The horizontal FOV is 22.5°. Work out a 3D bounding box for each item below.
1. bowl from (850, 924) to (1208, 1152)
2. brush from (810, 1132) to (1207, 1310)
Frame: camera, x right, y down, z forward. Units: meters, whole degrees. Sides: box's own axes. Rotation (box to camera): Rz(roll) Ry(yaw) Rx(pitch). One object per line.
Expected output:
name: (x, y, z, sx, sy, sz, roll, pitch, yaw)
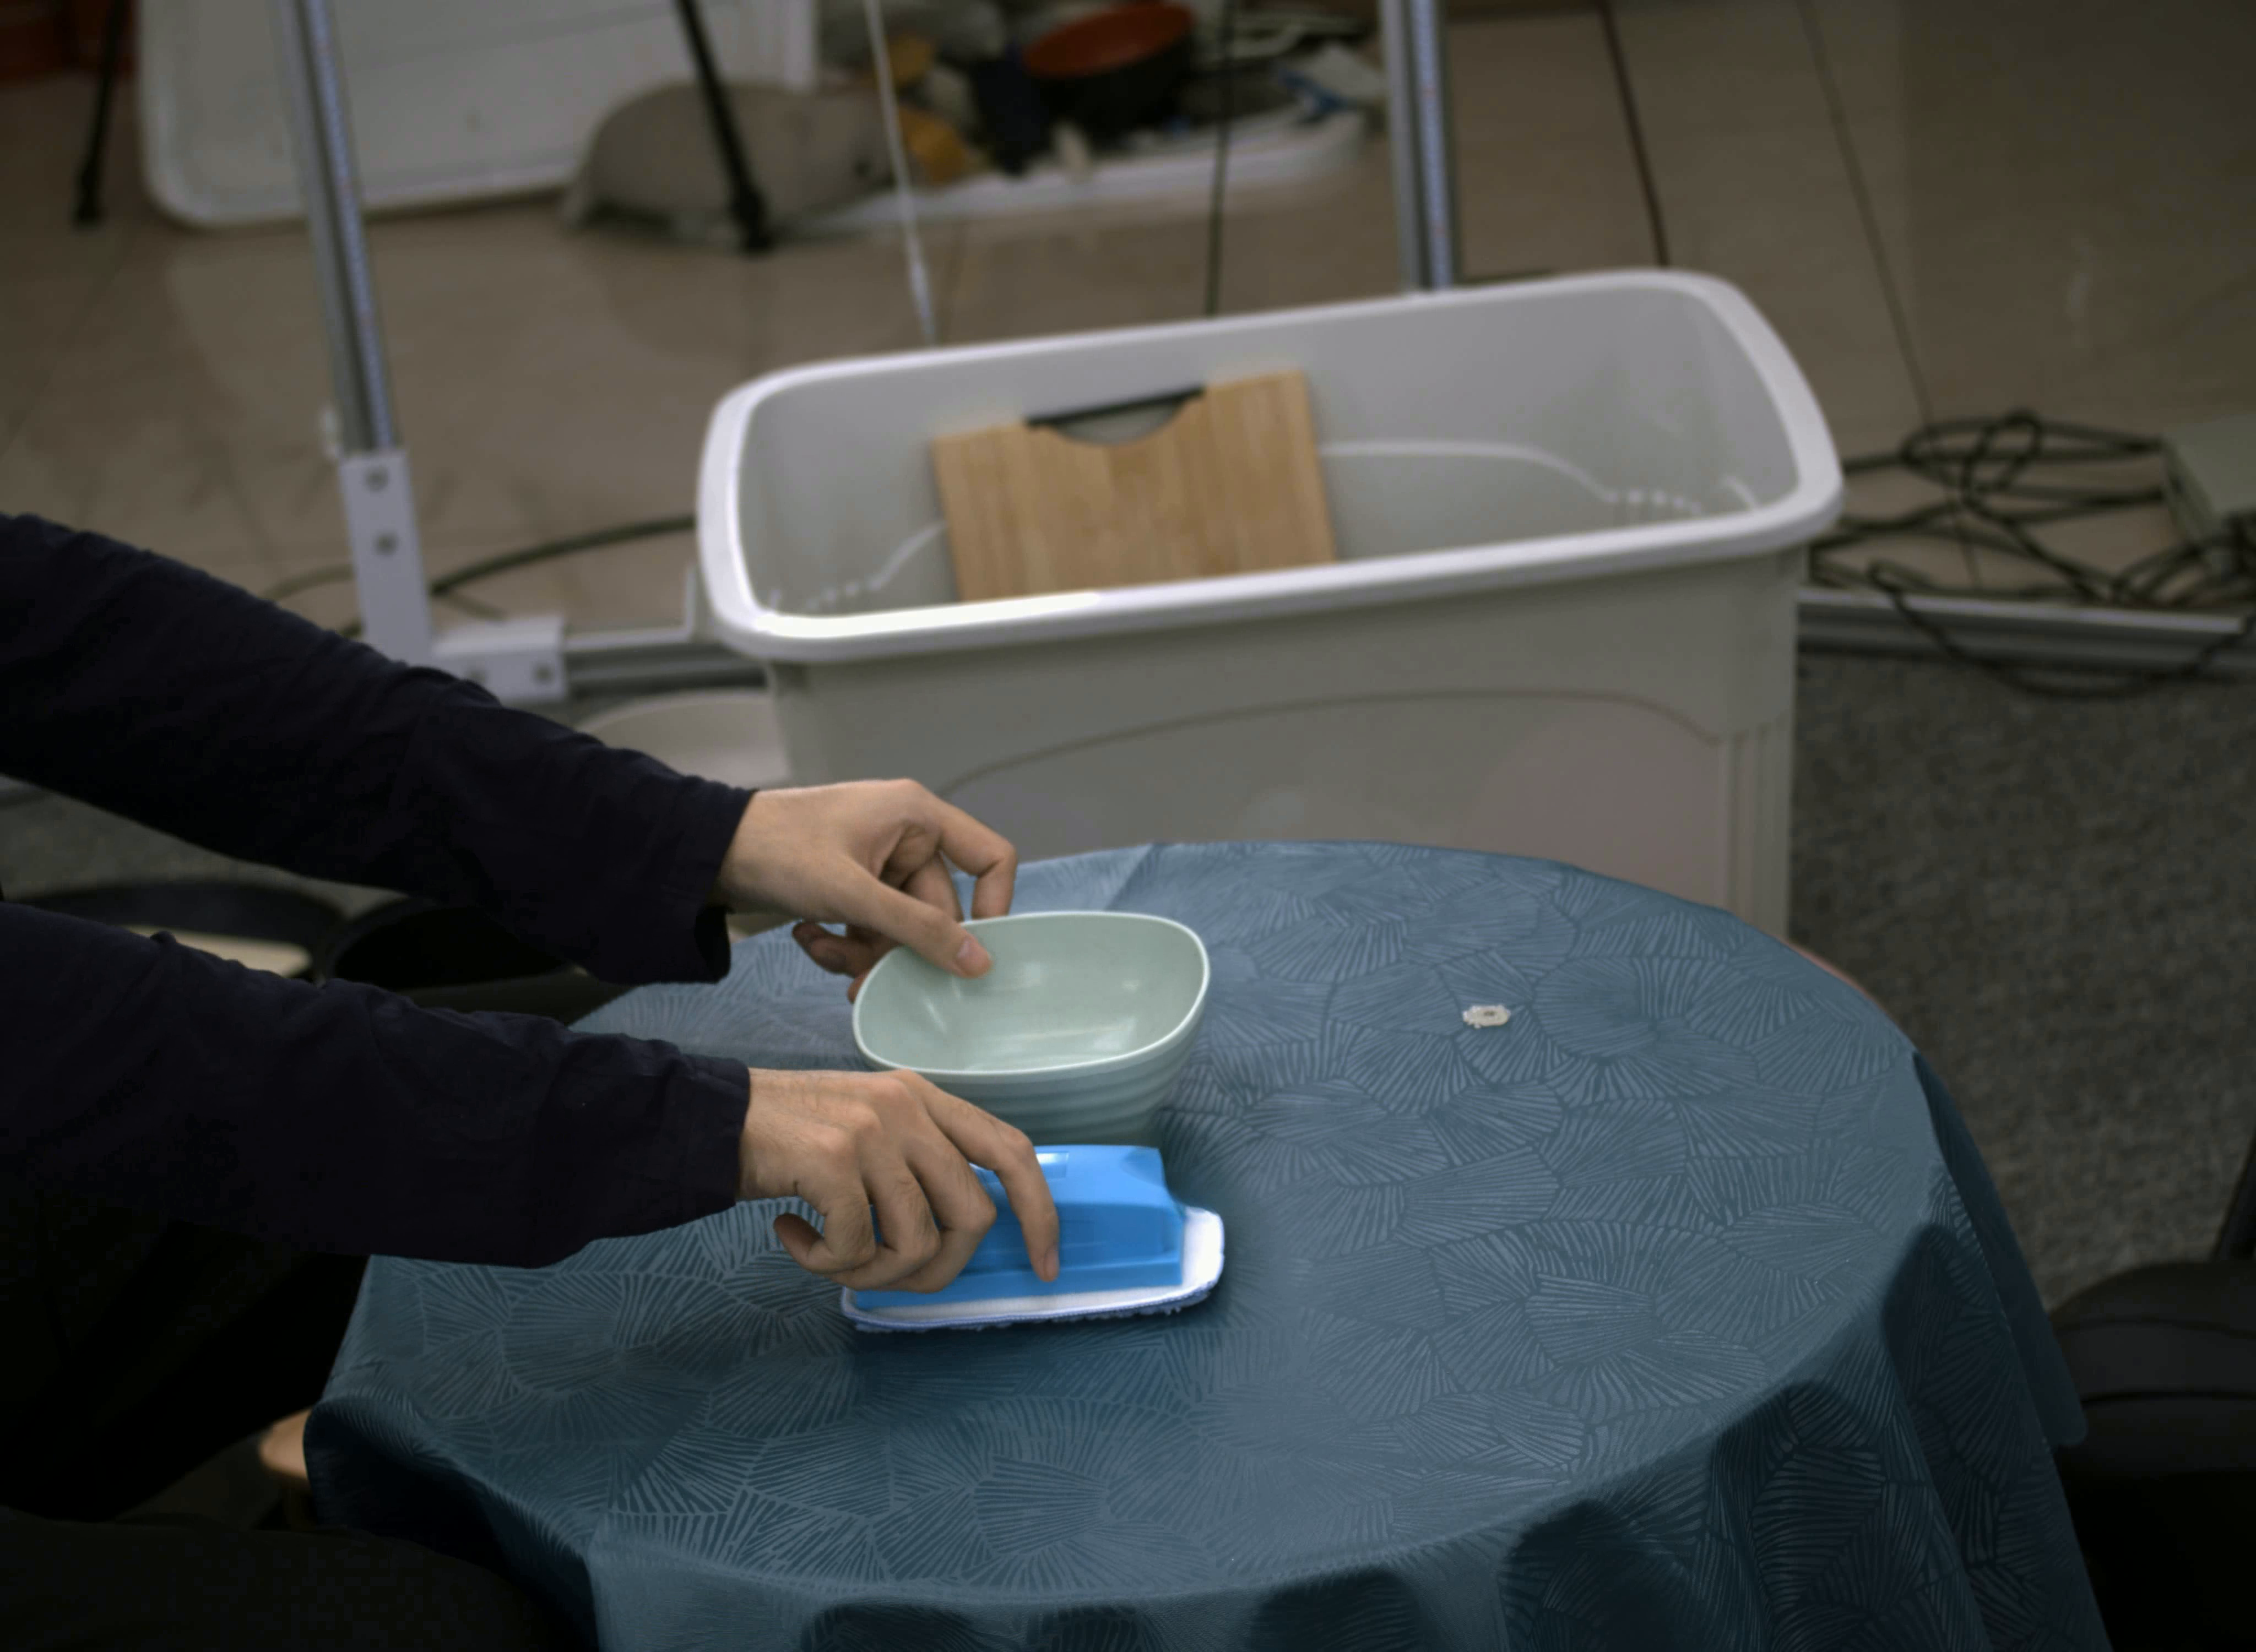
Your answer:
bowl: (-0.035, 0.092, 2.195, 0.151, 0.059, 0.149, -6, 23, 3)
brush: (-0.044, 0.142, 2.078, 0.144, 0.057, 0.083, -2, 21, 5)
